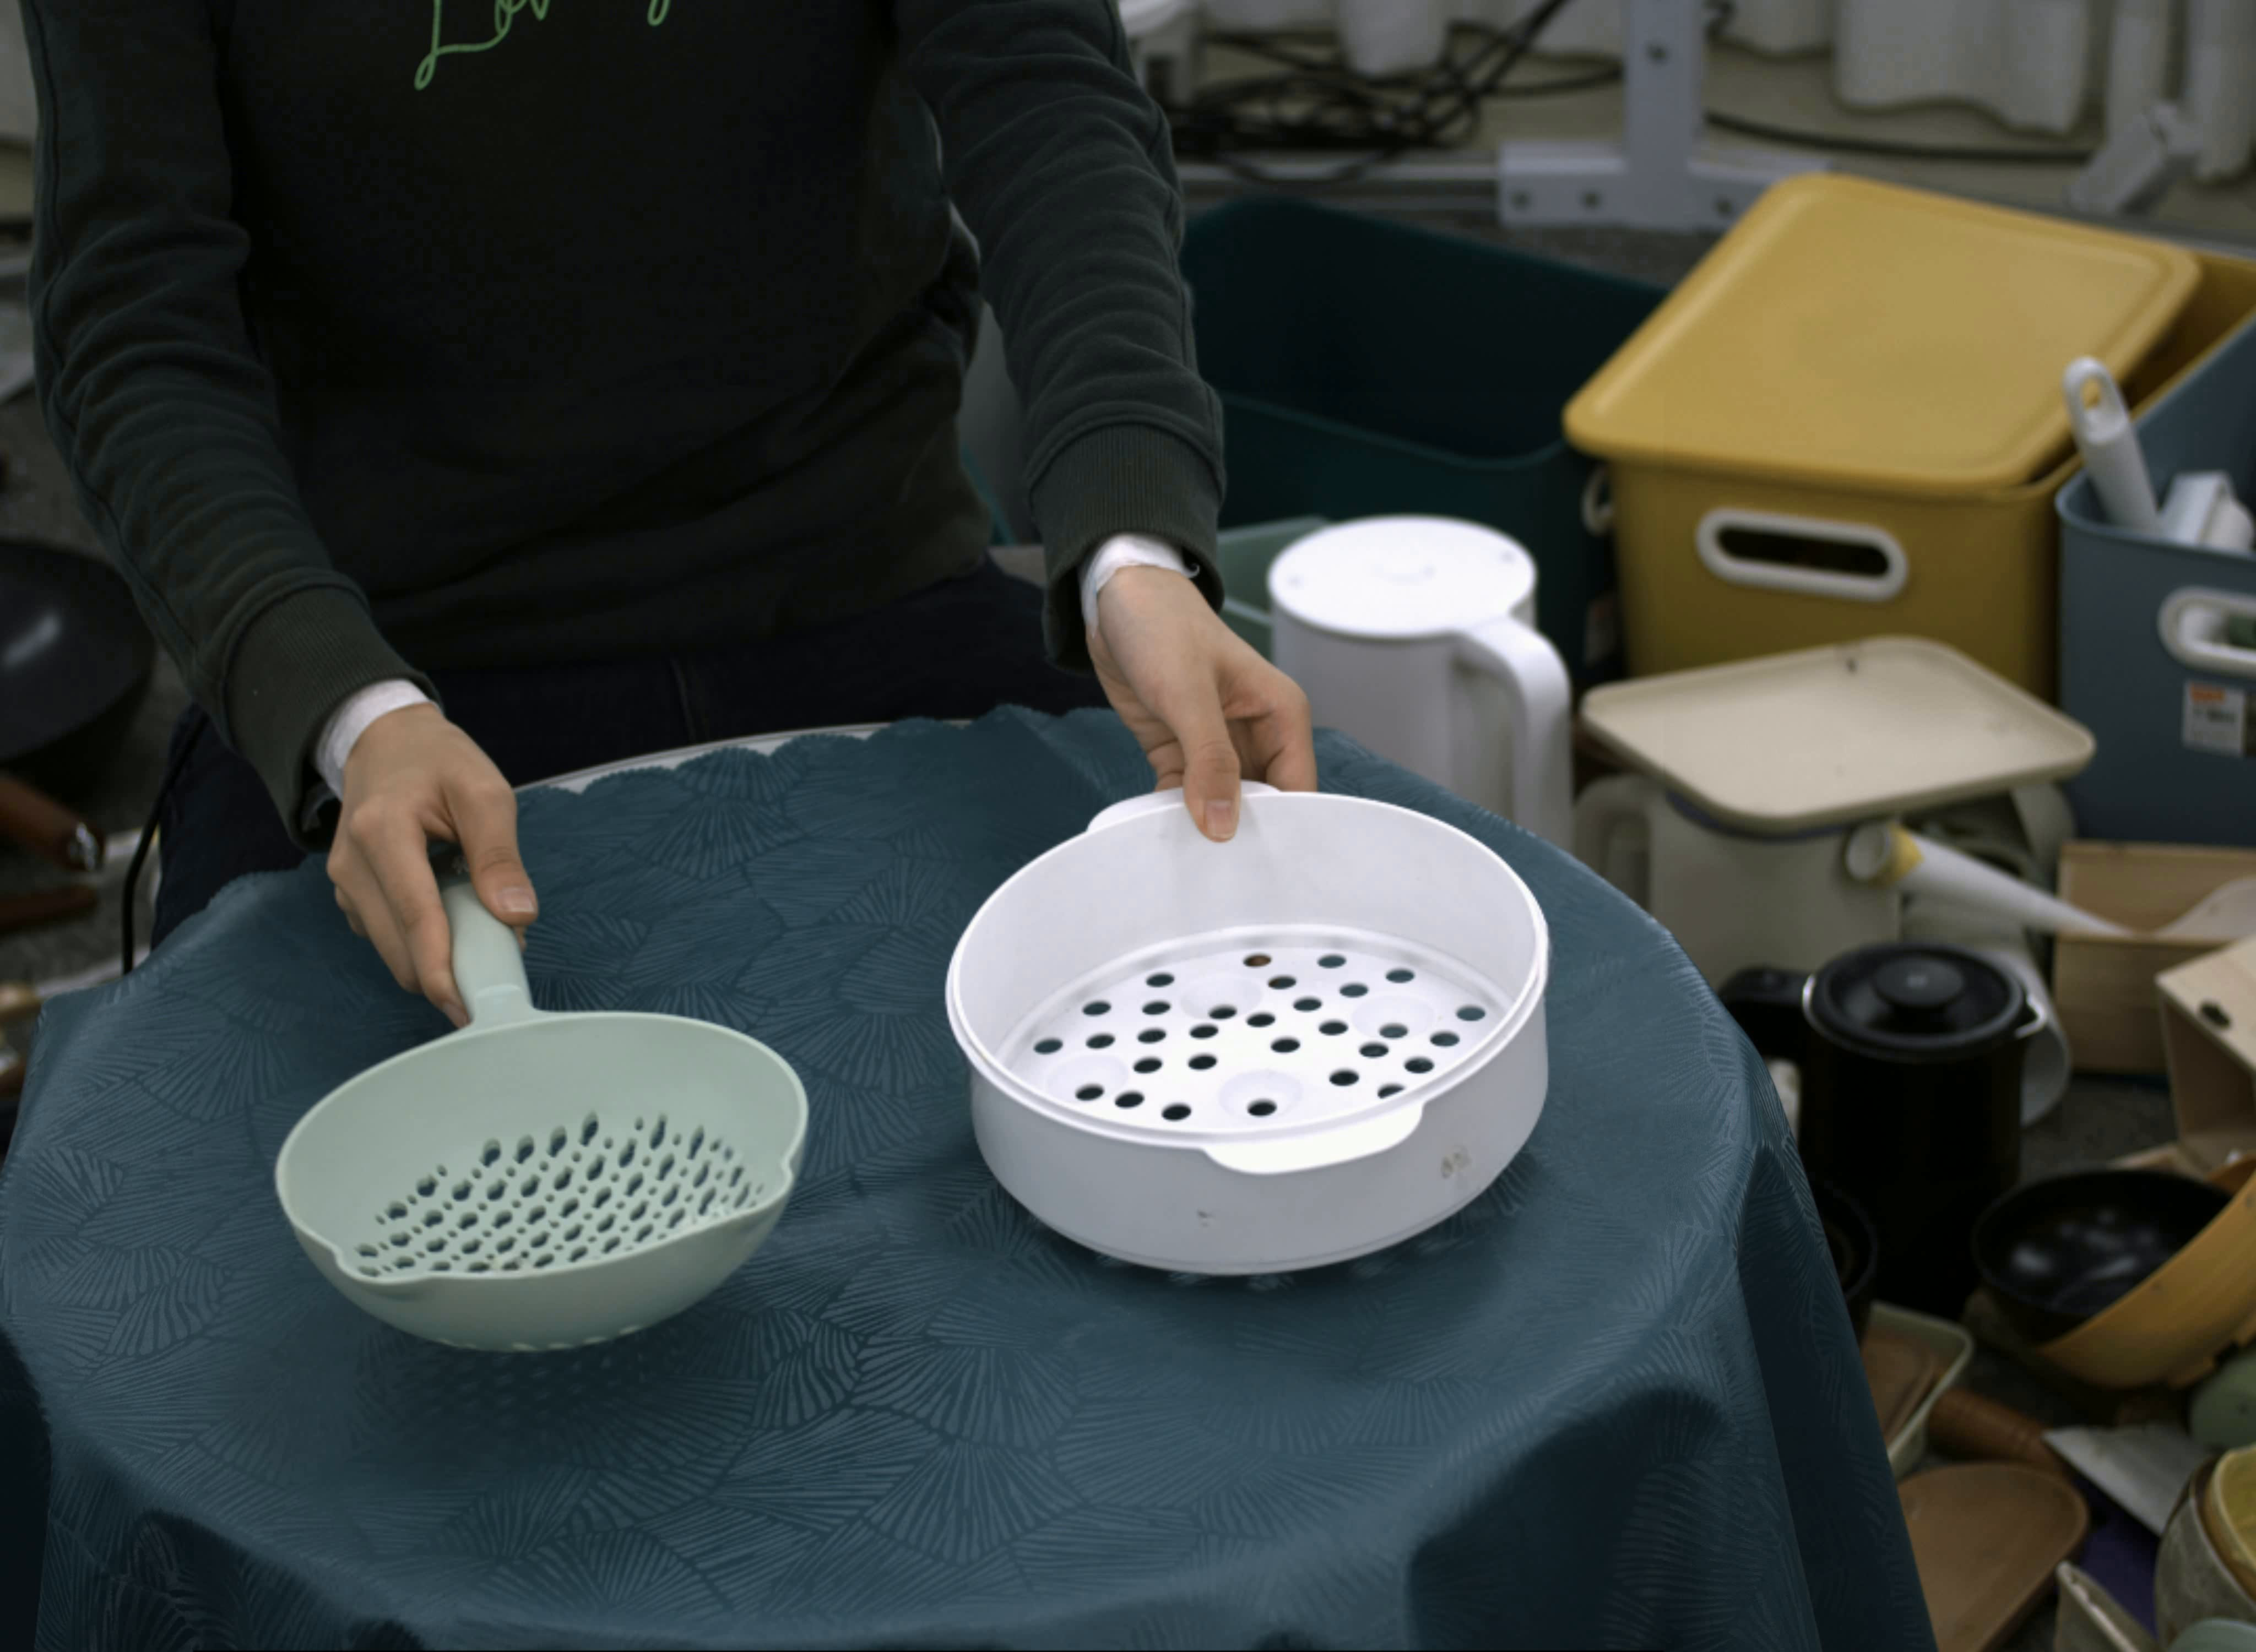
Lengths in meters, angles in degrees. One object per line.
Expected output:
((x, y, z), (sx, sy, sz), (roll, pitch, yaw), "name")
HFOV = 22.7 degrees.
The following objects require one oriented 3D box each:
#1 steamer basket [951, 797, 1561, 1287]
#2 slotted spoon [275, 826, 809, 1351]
((0.044, 0.073, 1.861), (0.202, 0.068, 0.233), (-10, 32, -9), "steamer basket")
((-0.204, 0.070, 1.856), (0.169, 0.074, 0.363), (-9, 33, -10), "slotted spoon")
